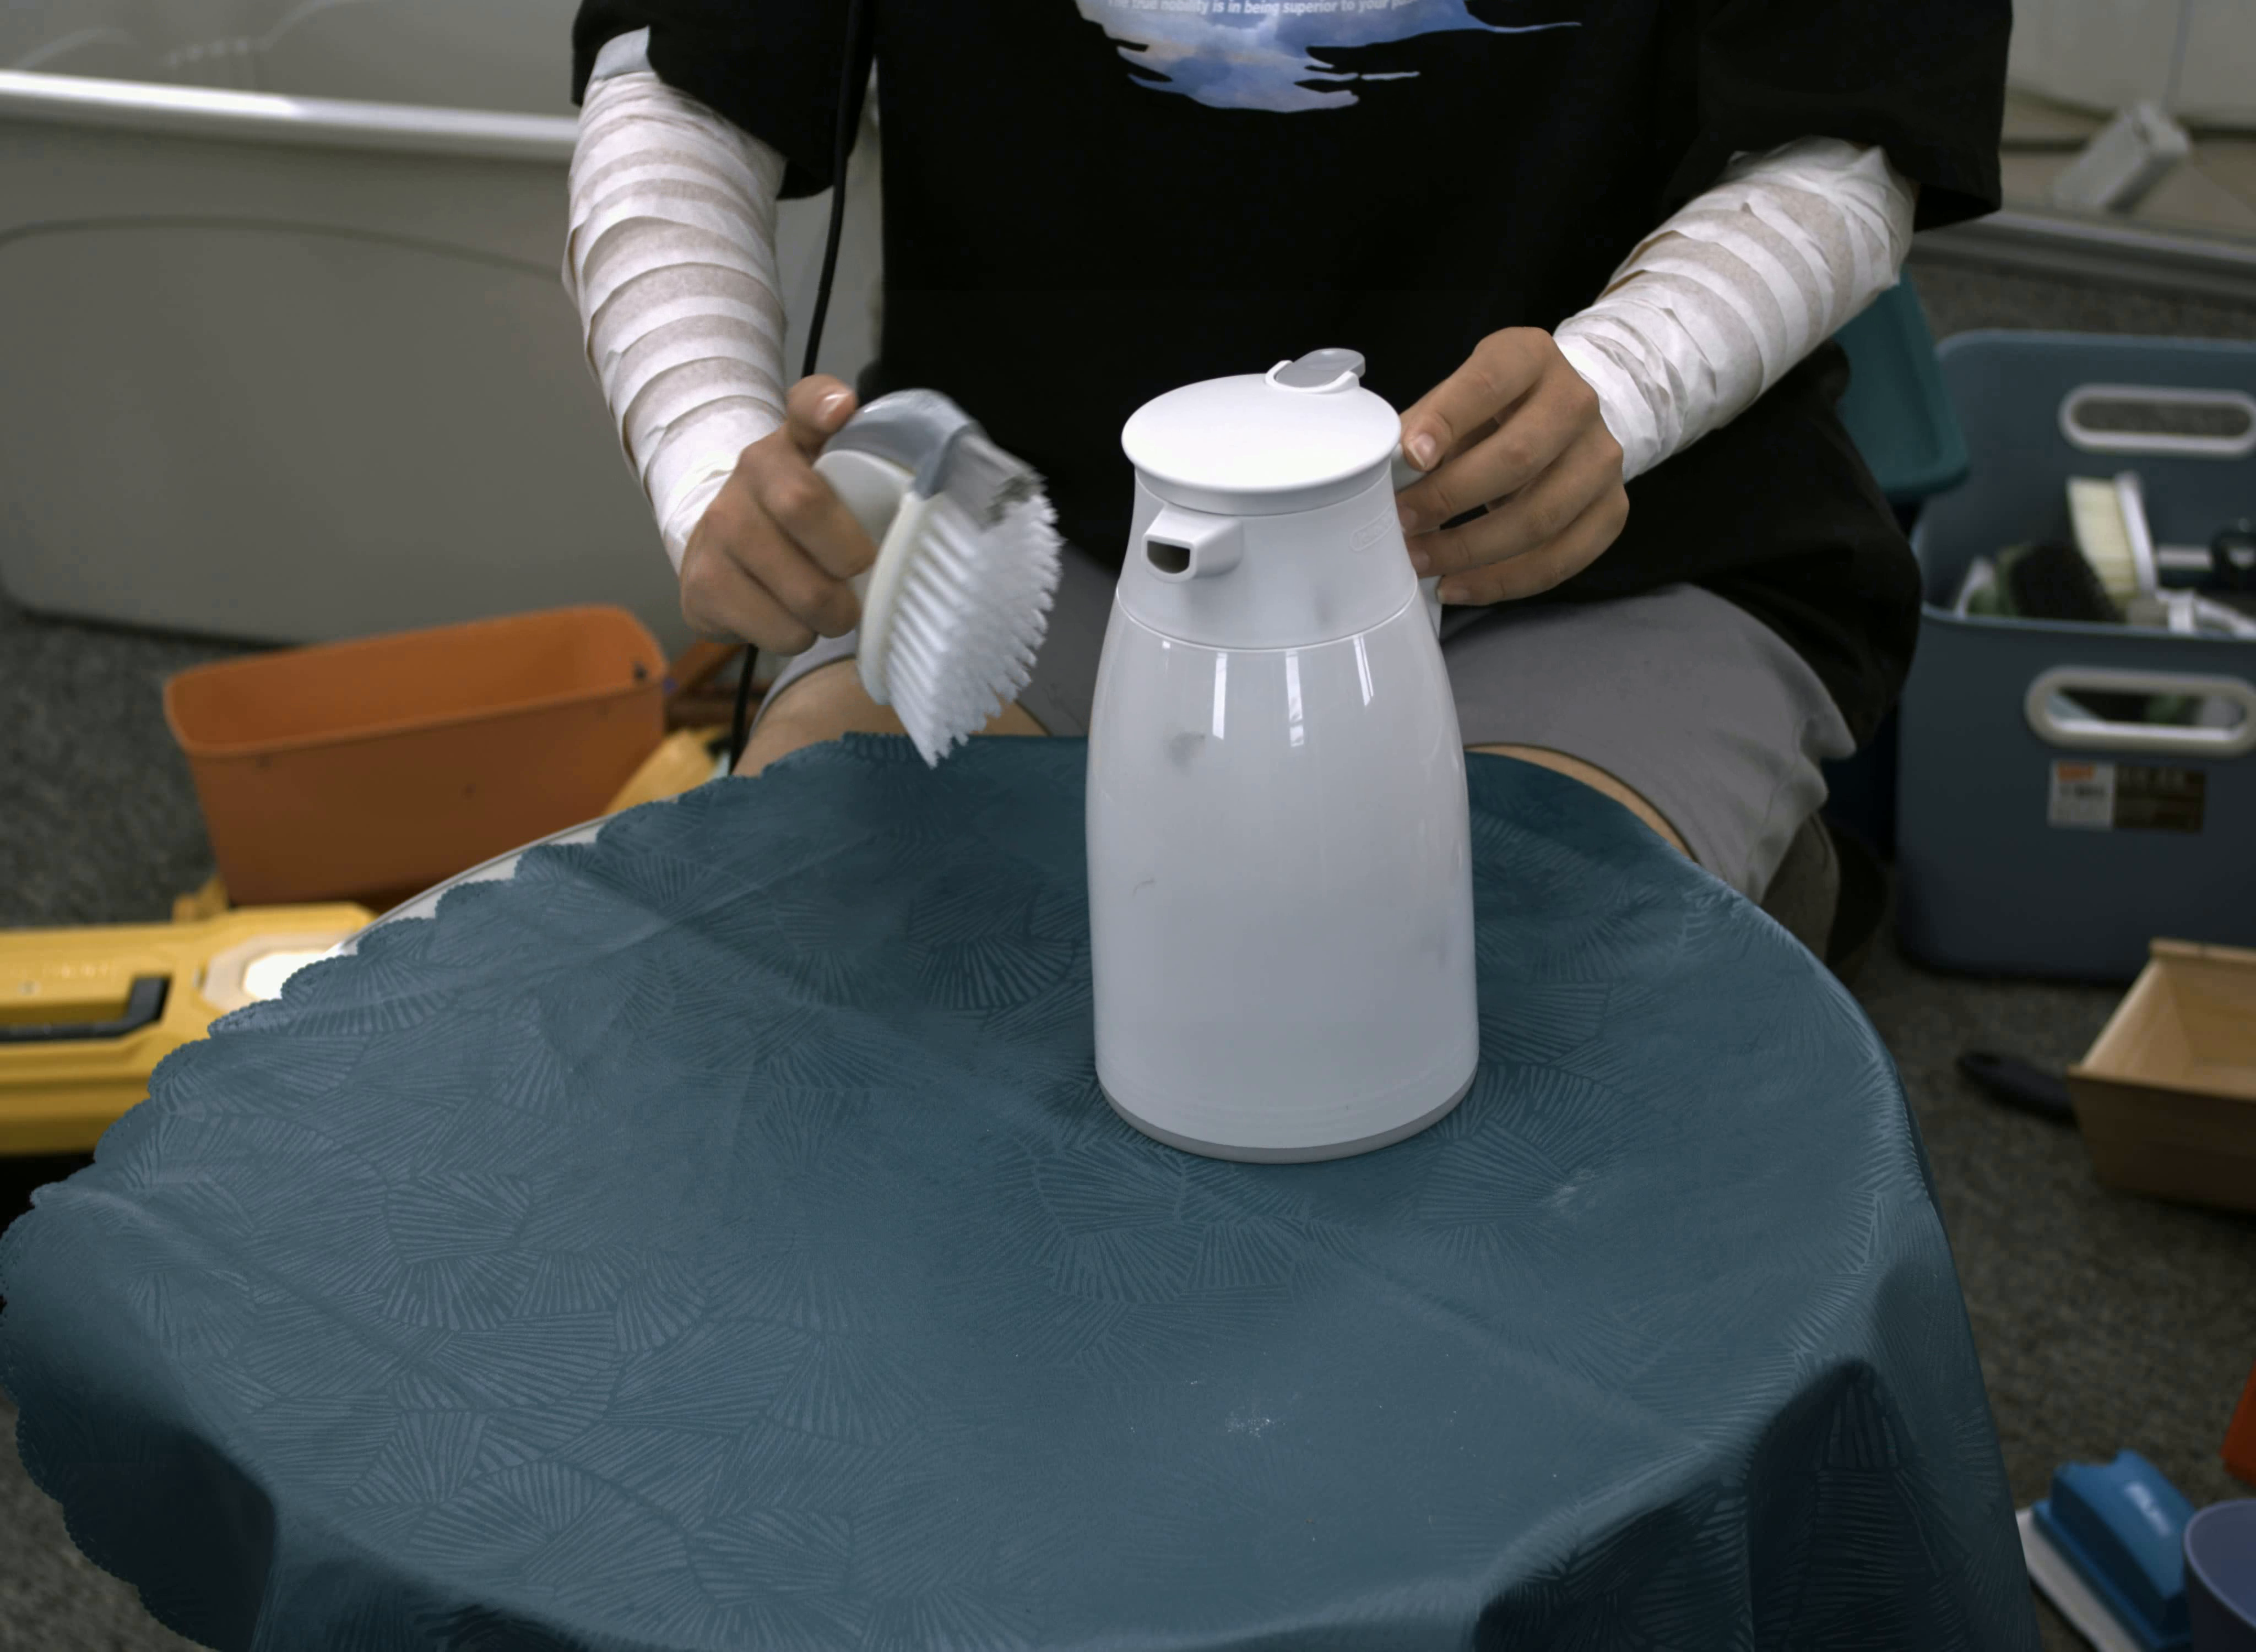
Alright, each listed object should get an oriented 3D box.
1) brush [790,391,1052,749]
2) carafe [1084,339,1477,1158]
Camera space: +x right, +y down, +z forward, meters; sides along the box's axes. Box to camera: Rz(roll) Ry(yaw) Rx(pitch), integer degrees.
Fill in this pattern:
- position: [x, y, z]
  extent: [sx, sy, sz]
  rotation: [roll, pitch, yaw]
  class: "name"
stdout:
- position: [-0.074, -0.104, 1.925]
  extent: [0.094, 0.173, 0.062]
  rotation: [41, 67, 13]
  class: "brush"
- position: [0.057, -0.037, 1.894]
  extent: [0.132, 0.246, 0.170]
  rotation: [11, 29, 27]
  class: "carafe"
